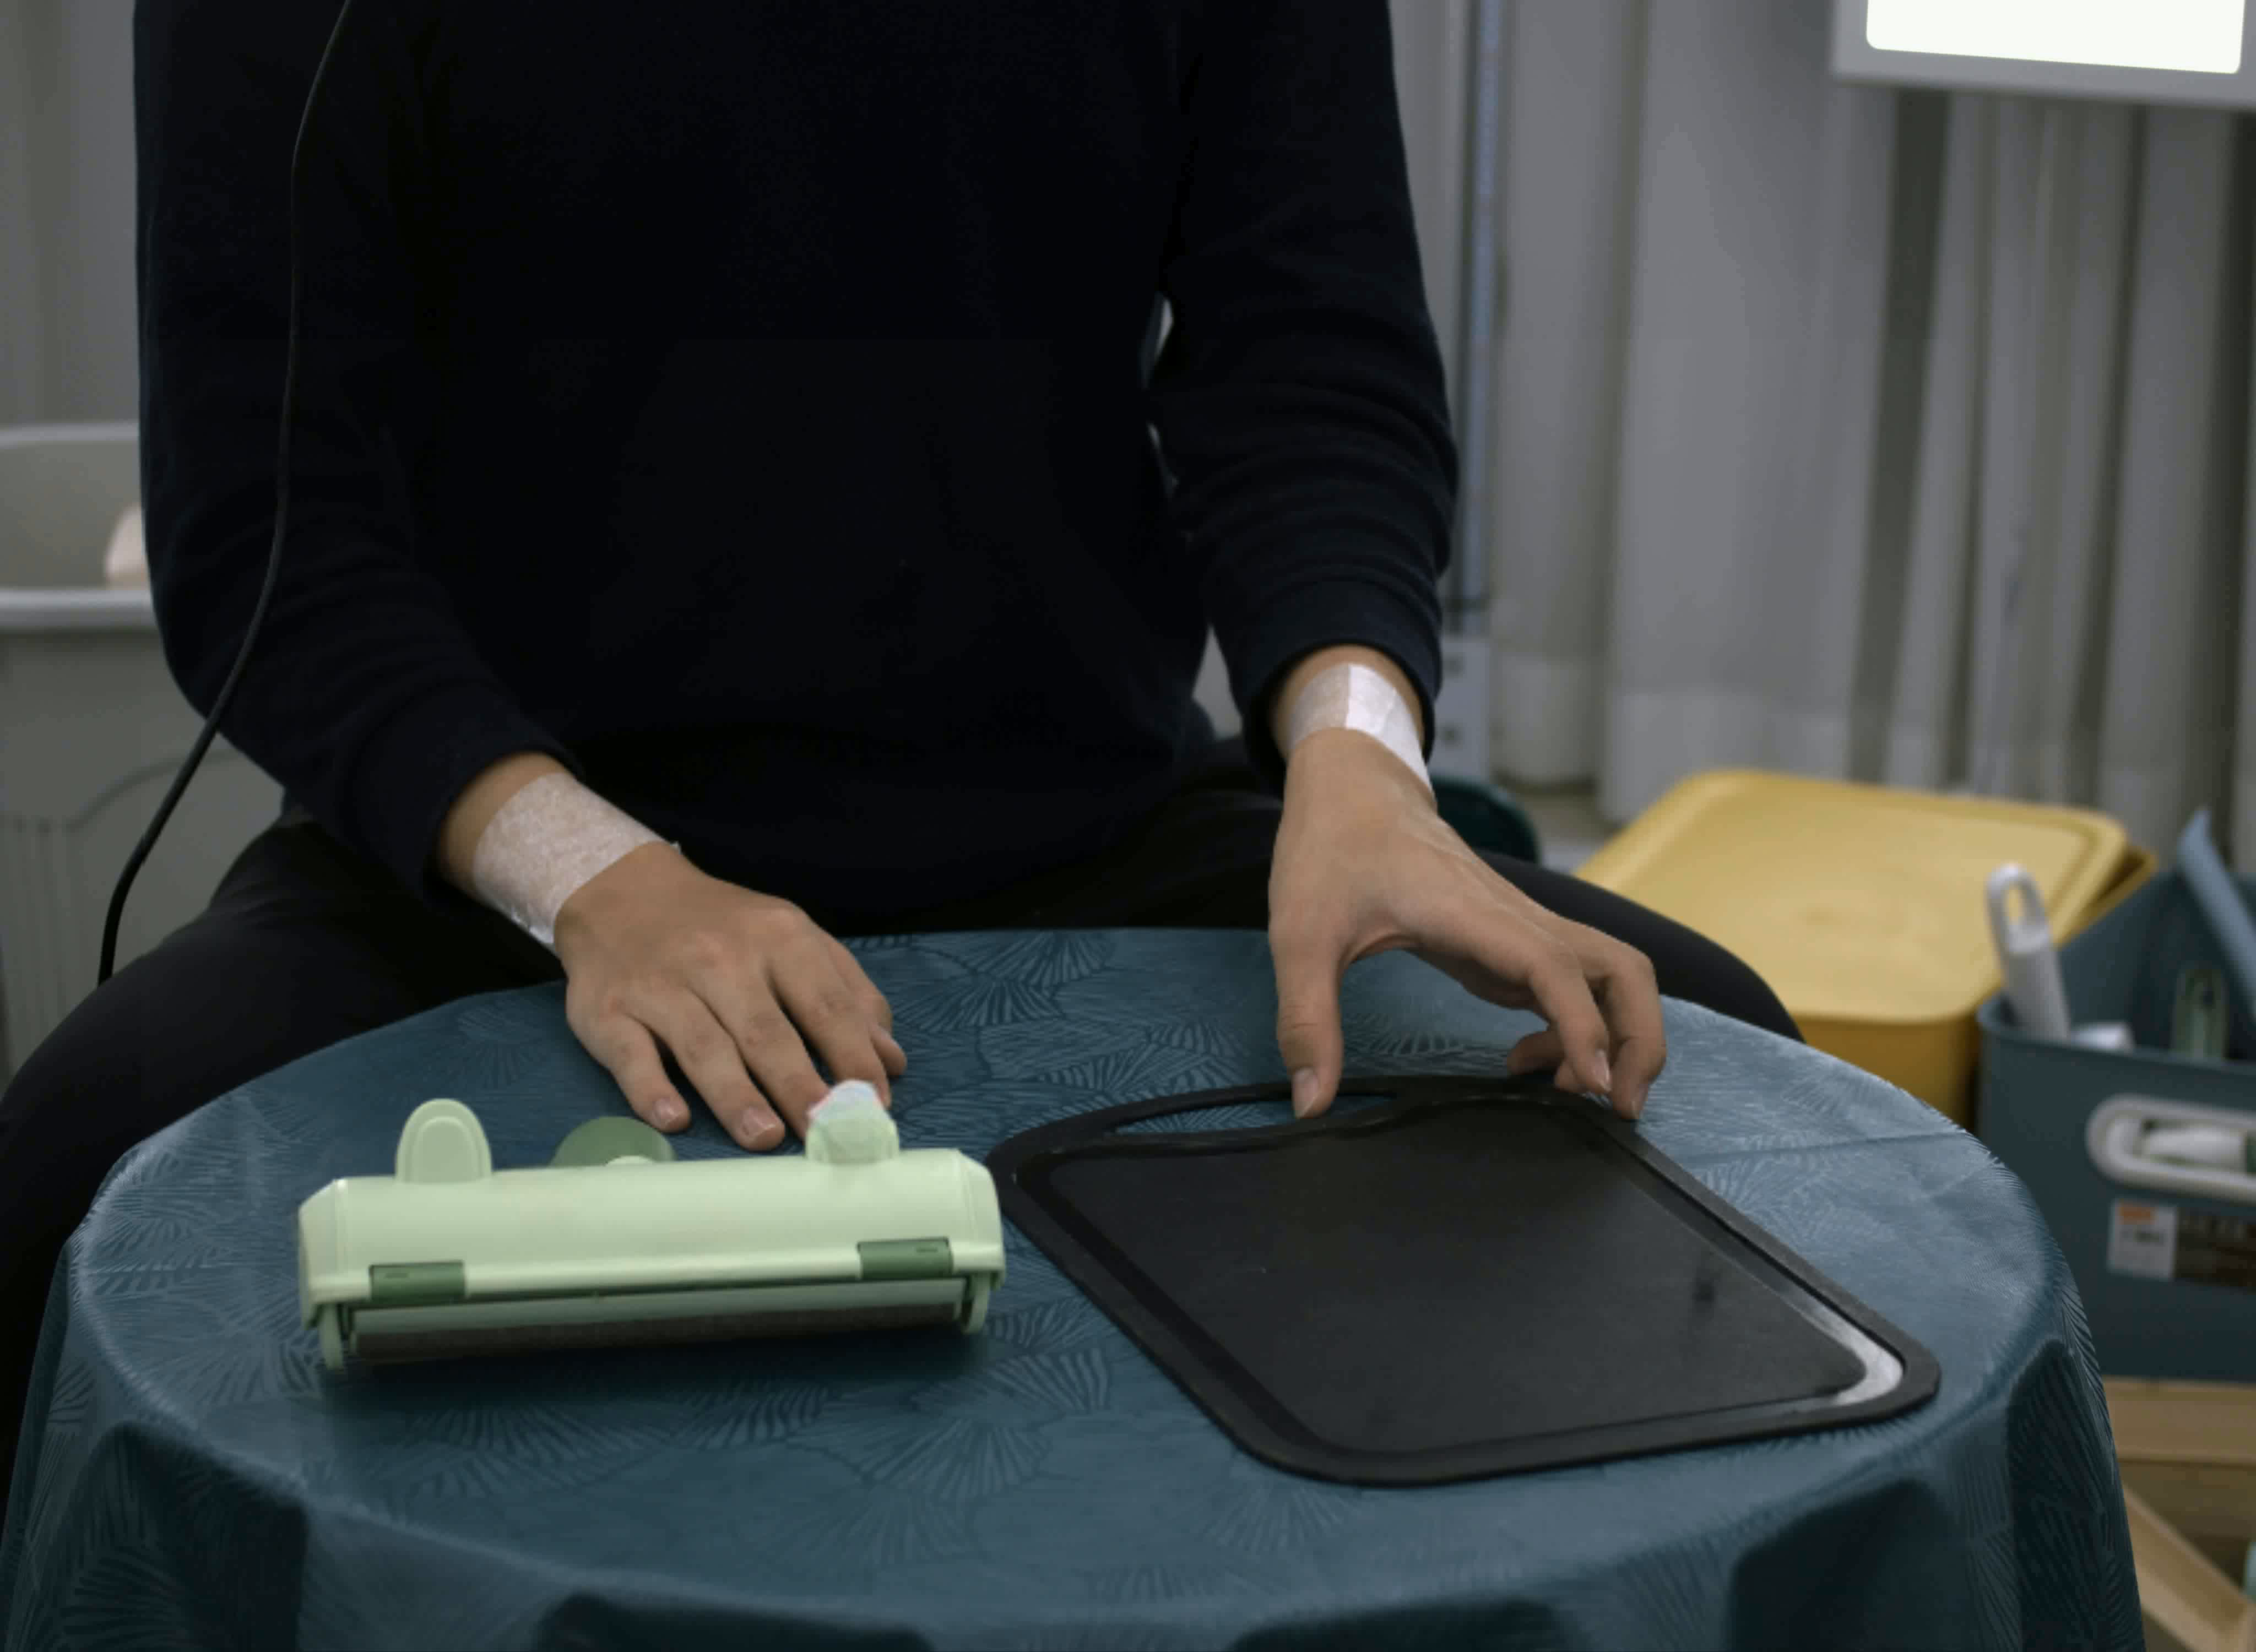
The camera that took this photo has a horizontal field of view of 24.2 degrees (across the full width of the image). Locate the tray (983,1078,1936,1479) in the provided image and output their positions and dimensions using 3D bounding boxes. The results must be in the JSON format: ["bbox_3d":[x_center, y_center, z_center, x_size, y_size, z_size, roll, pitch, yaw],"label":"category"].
[{"bbox_3d":[0.087,0.126,1.565,0.211,0.010,0.322,-5,17,-19],"label":"tray"}]

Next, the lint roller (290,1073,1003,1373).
[{"bbox_3d":[-0.146,0.093,1.526,0.199,0.083,0.181,-2,23,-12],"label":"lint roller"}]
